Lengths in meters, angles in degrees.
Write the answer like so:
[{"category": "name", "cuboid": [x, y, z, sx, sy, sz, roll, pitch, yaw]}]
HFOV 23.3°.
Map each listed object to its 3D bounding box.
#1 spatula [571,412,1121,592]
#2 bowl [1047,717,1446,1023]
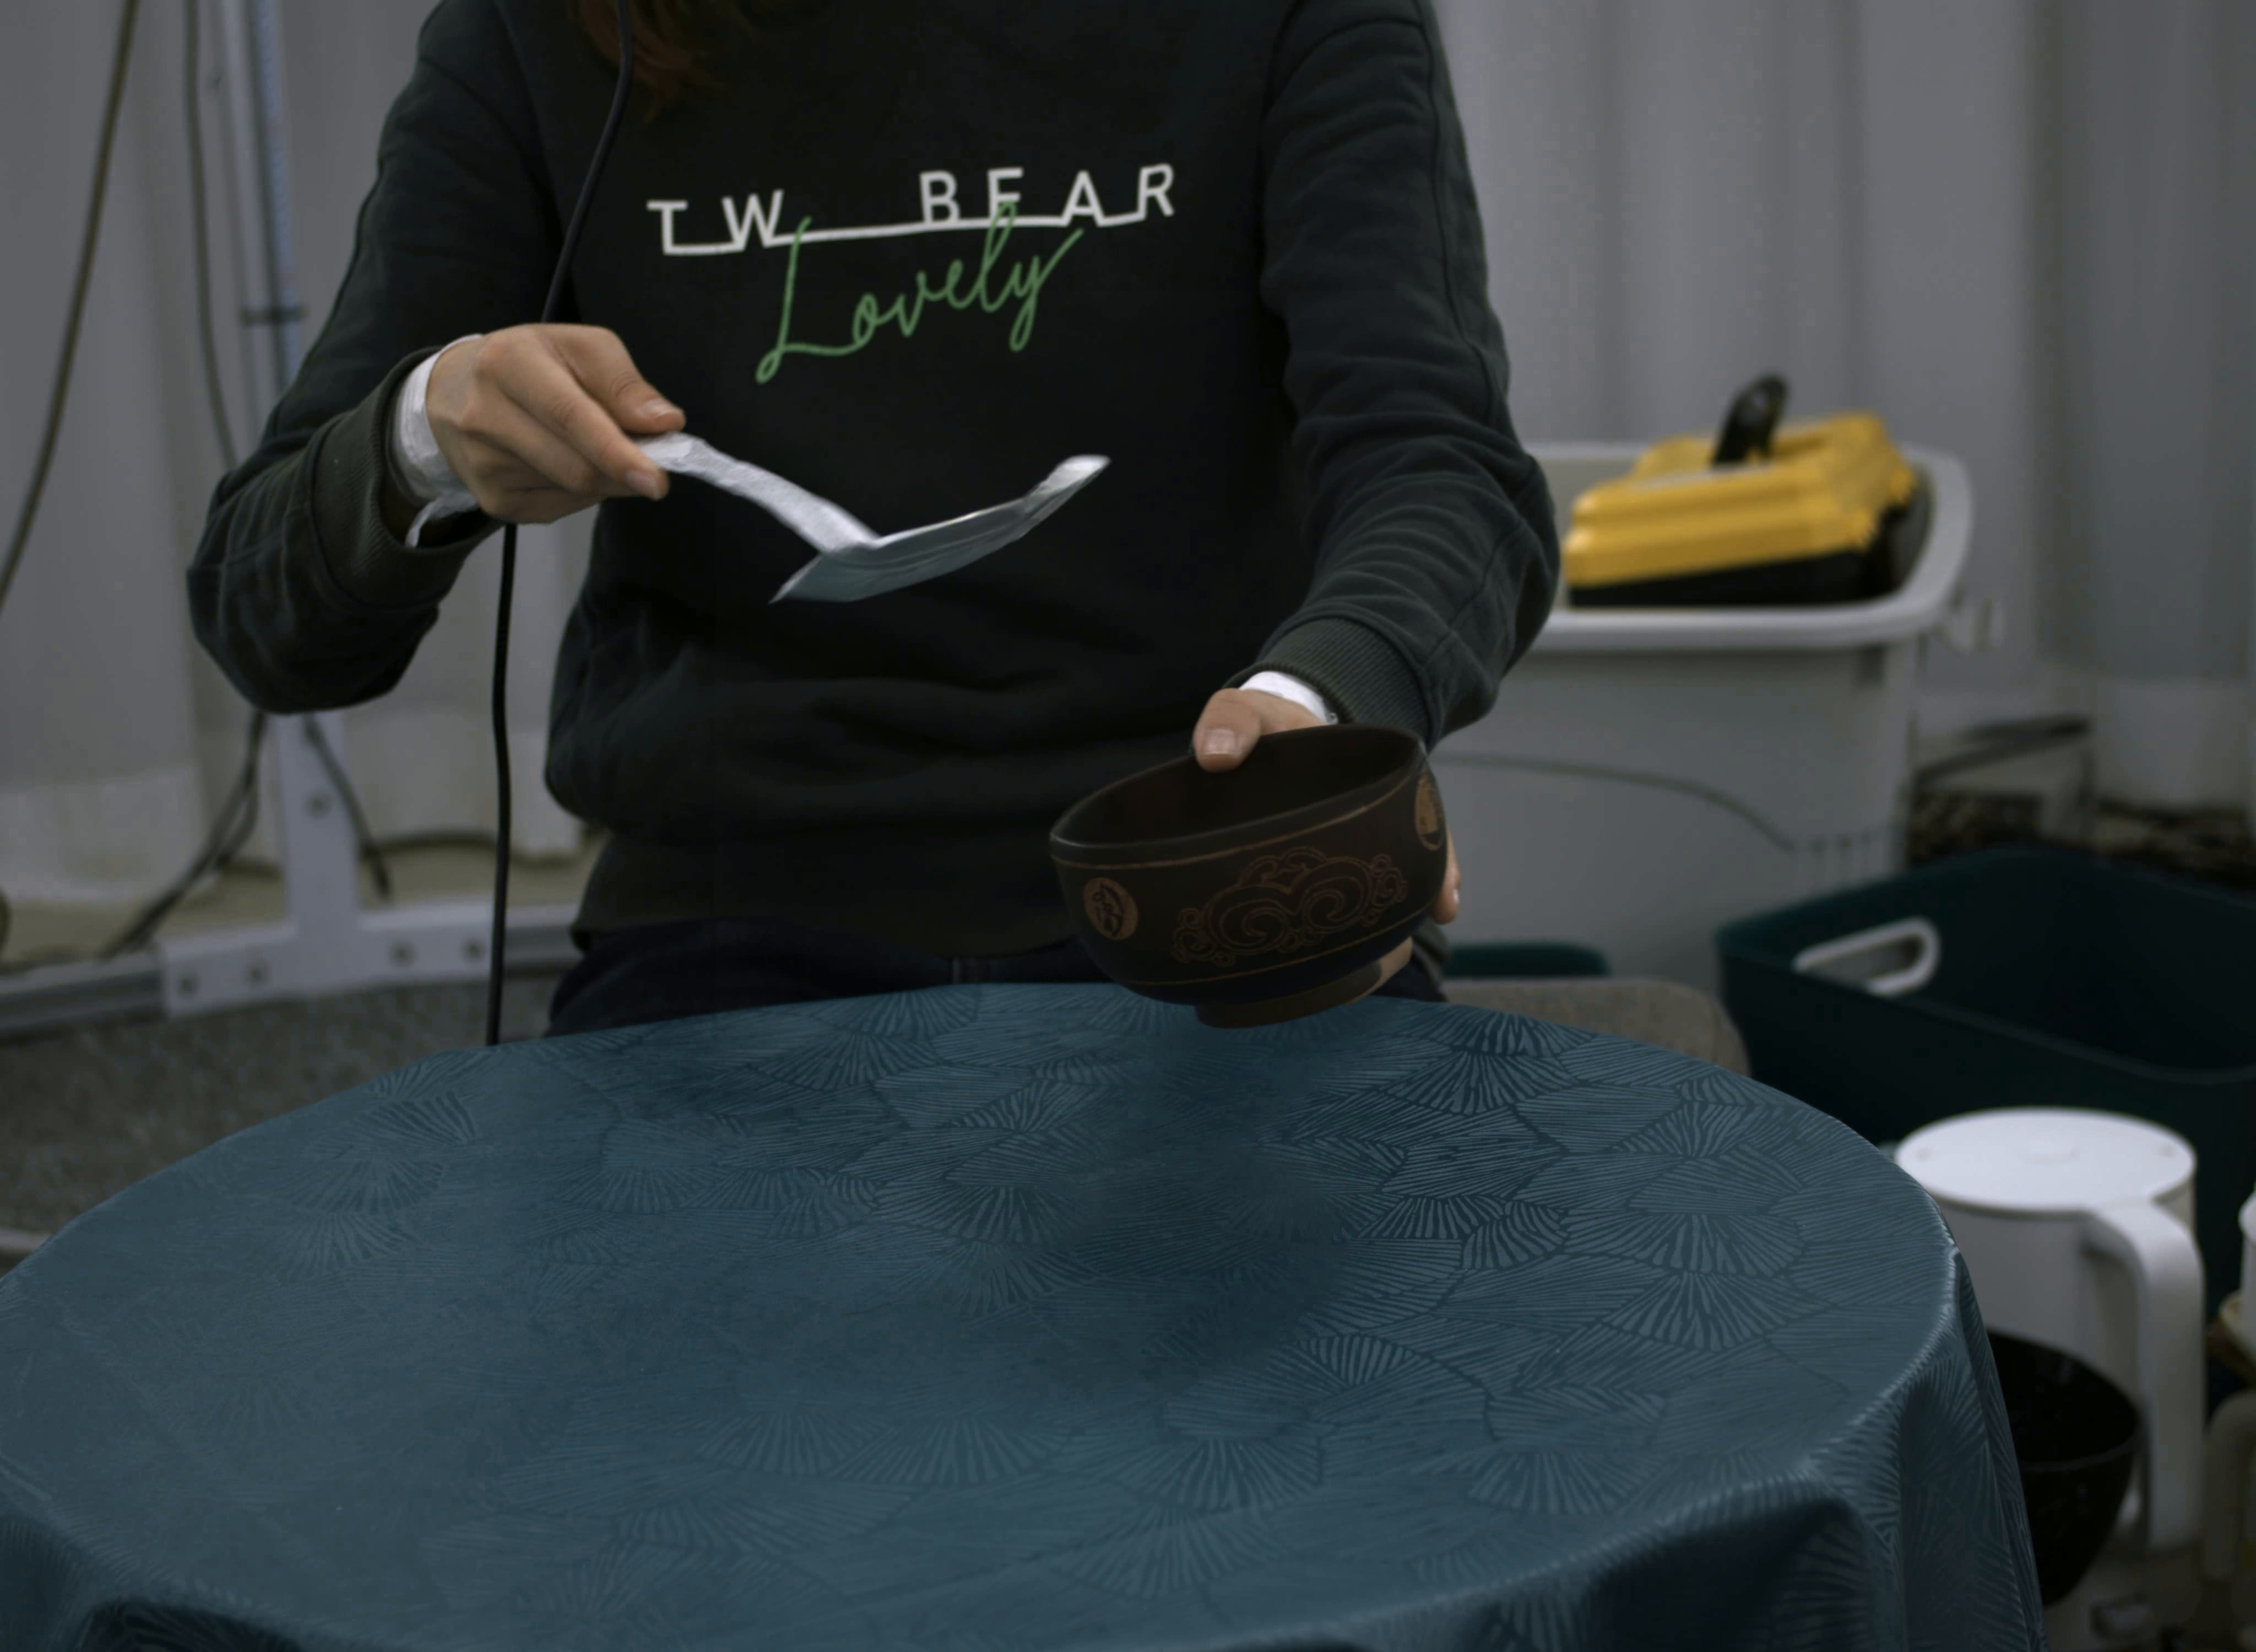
[{"category": "spatula", "cuboid": [-0.114, -0.116, 1.757, 0.098, 0.044, 0.368, -22, 21, -22]}, {"category": "bowl", "cuboid": [0.039, 0.017, 1.640, 0.117, 0.069, 0.118, -13, 12, 2]}]
